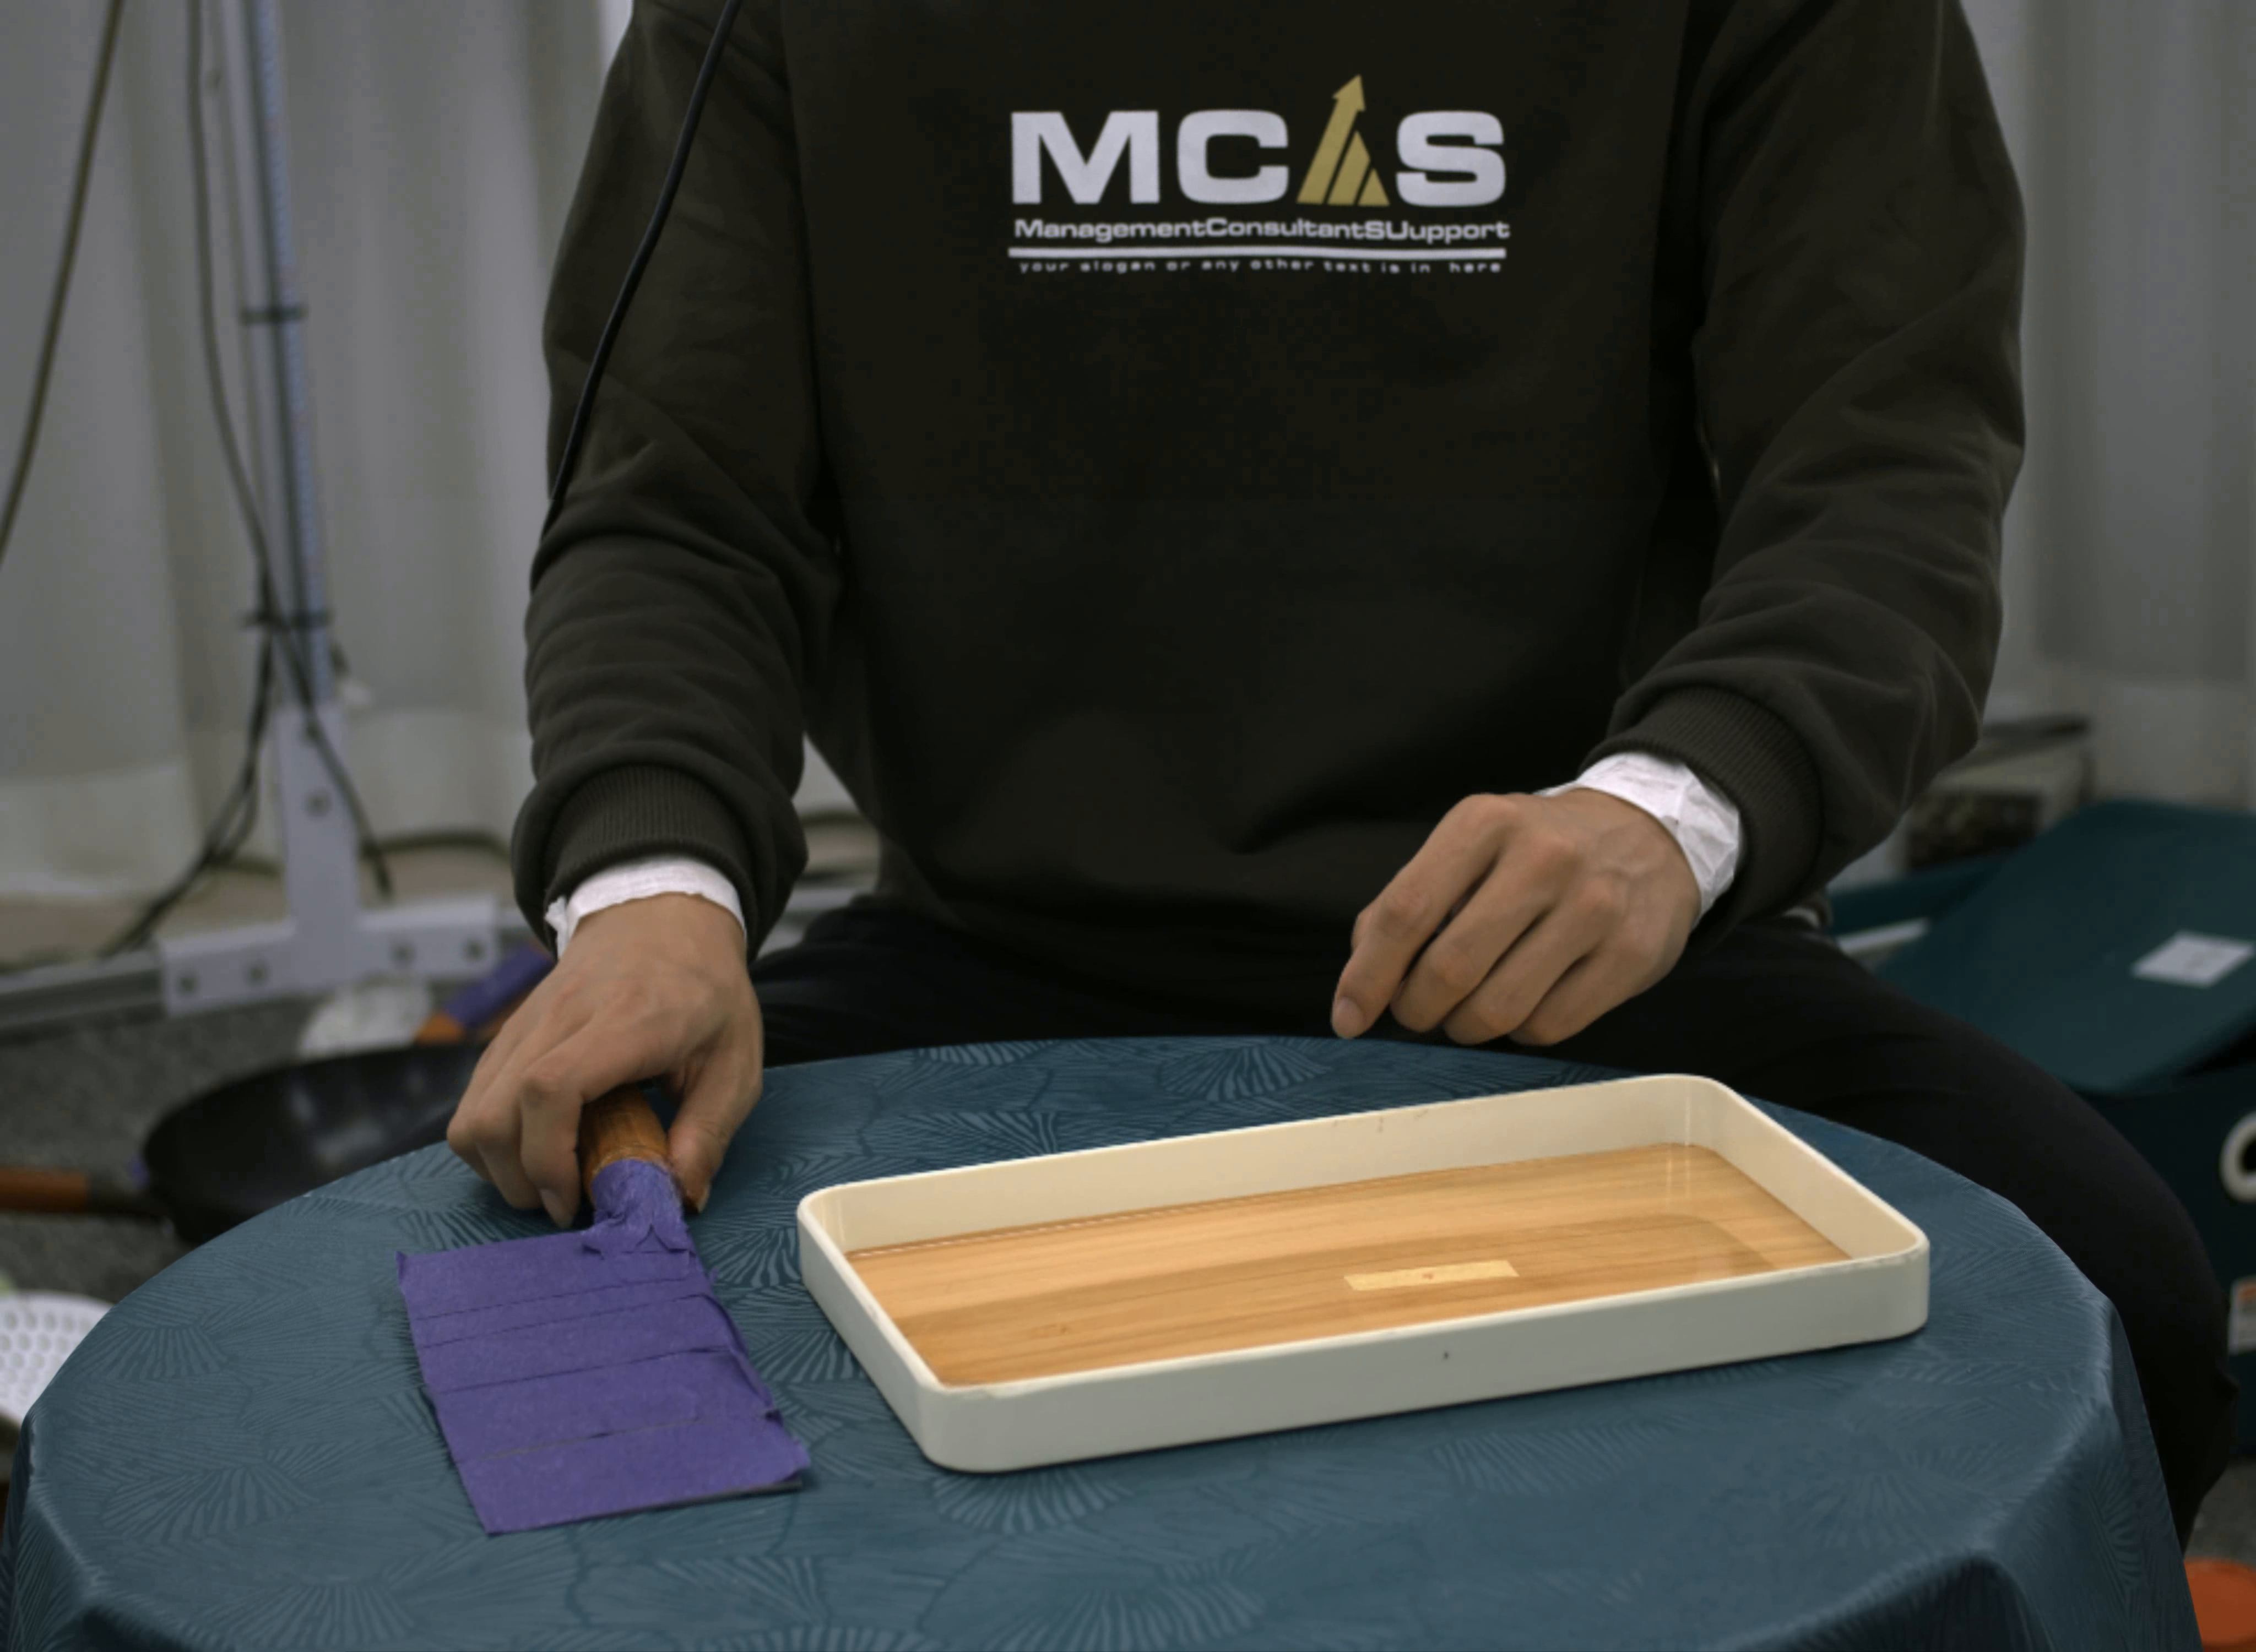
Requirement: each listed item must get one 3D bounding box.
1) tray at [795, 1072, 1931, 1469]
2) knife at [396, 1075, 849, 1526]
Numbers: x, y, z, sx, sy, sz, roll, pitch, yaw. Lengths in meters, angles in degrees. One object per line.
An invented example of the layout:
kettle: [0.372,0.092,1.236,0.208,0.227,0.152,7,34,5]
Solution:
tray: [0.065,0.127,1.605,0.299,0.027,0.193,-7,15,-15]
knife: [-0.165,0.136,1.615,0.103,0.032,0.318,-6,16,-14]
